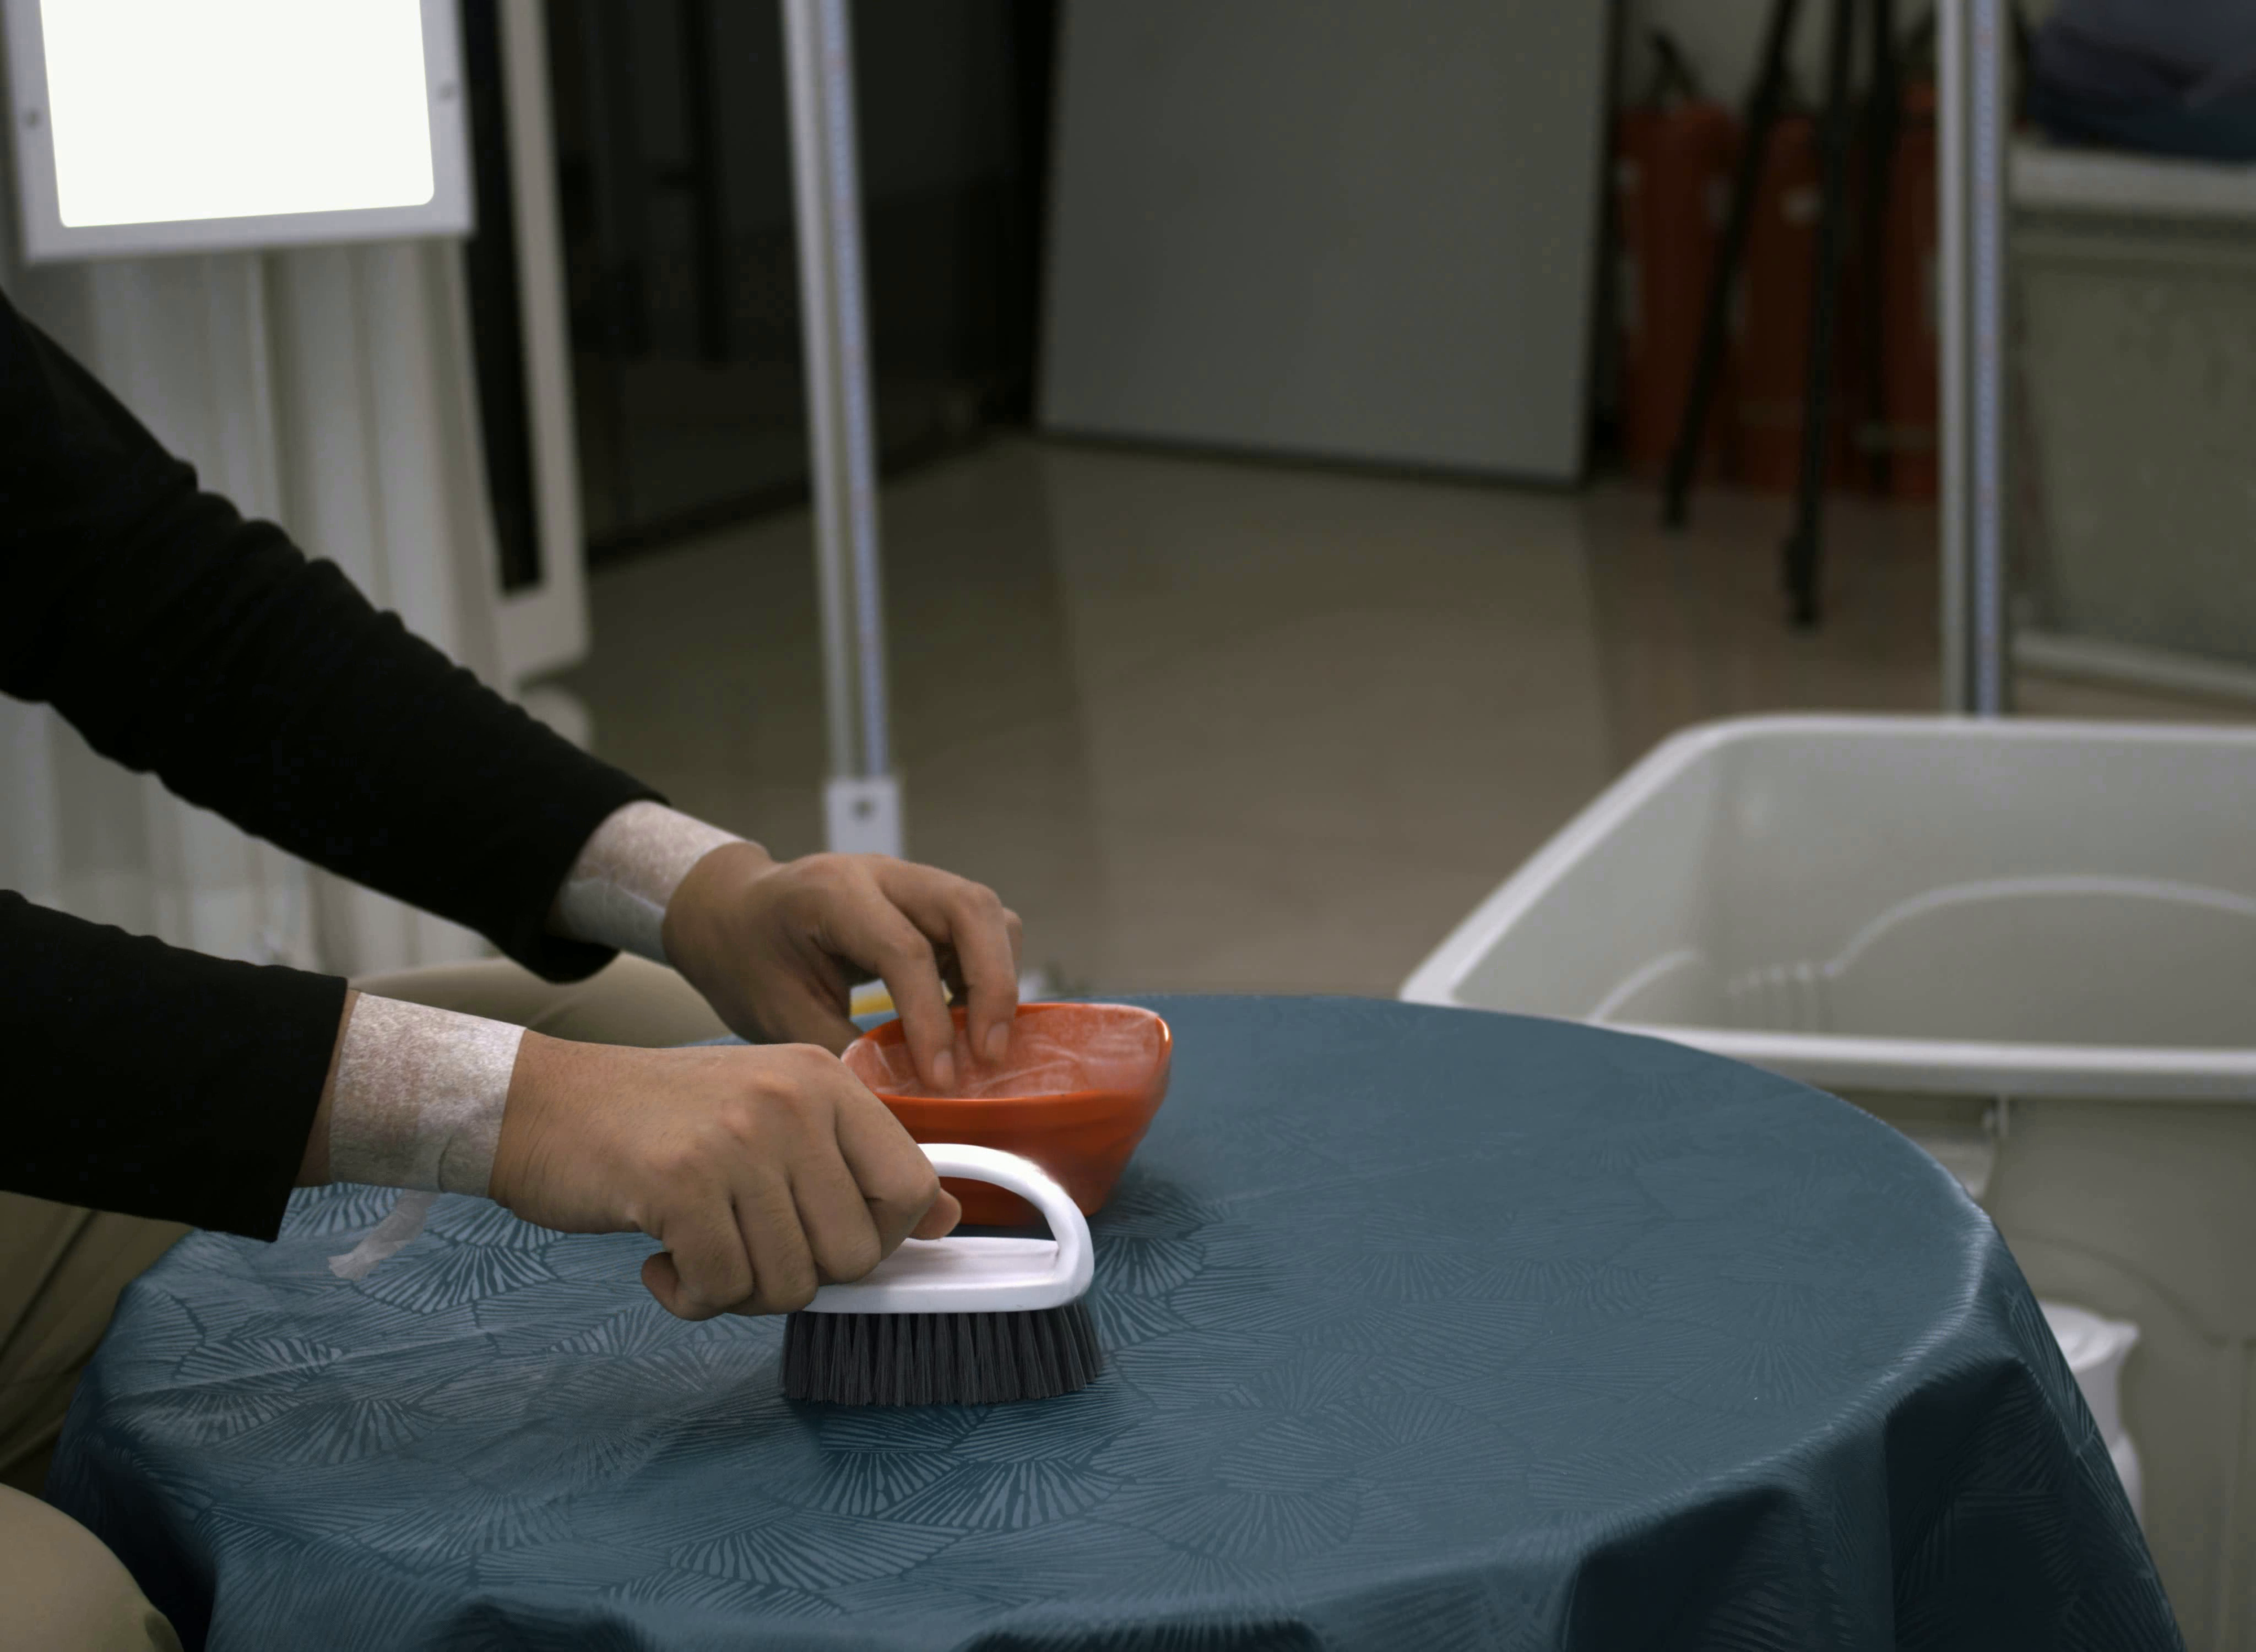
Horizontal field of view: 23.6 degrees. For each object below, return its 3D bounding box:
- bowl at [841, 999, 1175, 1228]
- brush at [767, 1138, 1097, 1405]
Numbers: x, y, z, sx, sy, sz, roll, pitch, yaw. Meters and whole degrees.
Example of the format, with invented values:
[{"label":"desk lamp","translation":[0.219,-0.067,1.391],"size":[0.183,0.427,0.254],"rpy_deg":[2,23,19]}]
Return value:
[{"label":"bowl","translation":[-0.039,0.096,1.770],"size":[0.117,0.052,0.119],"rpy_deg":[-2,15,0]},{"label":"brush","translation":[-0.059,0.129,1.601],"size":[0.098,0.073,0.050],"rpy_deg":[-1,14,12]}]
